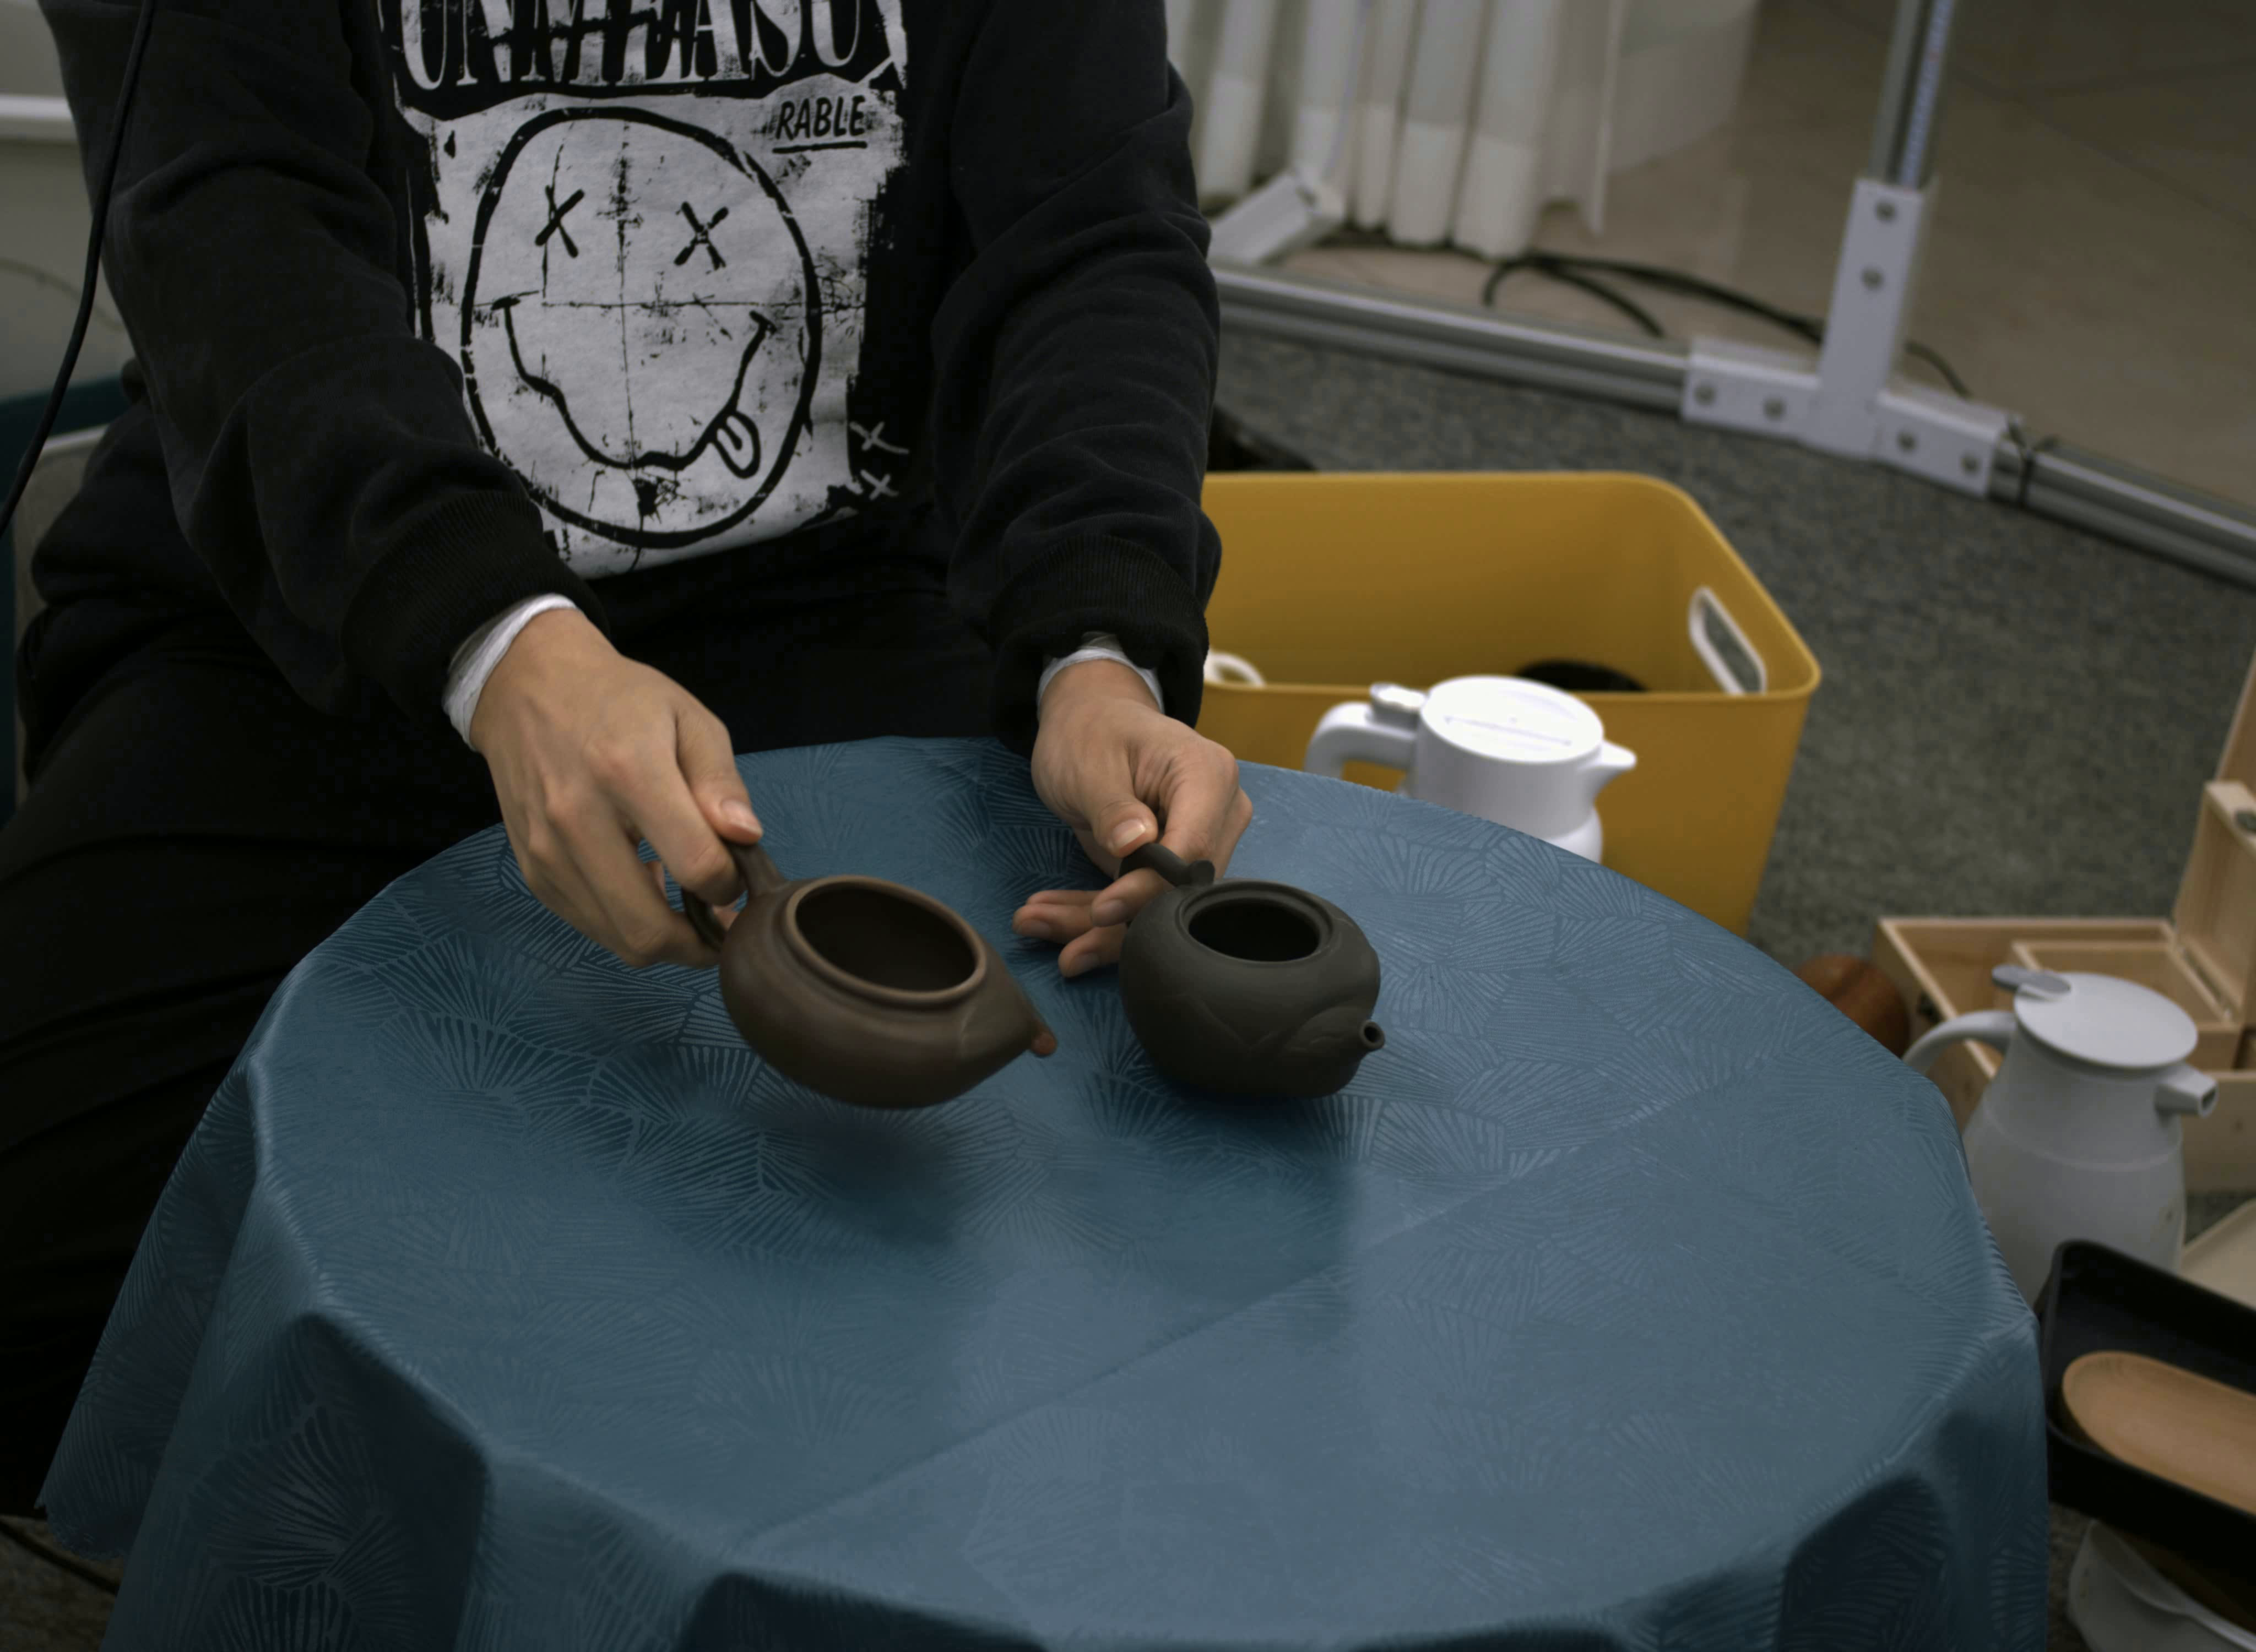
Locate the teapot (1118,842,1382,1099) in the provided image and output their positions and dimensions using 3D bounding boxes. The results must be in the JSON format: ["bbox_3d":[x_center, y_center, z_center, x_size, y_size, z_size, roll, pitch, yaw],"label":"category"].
[{"bbox_3d":[0.040,0.055,1.878,0.092,0.064,0.155,-10,33,-32],"label":"teapot"}]

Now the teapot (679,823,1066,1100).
[{"bbox_3d":[-0.090,0.049,1.796,0.154,0.054,0.102,30,29,17],"label":"teapot"}]
